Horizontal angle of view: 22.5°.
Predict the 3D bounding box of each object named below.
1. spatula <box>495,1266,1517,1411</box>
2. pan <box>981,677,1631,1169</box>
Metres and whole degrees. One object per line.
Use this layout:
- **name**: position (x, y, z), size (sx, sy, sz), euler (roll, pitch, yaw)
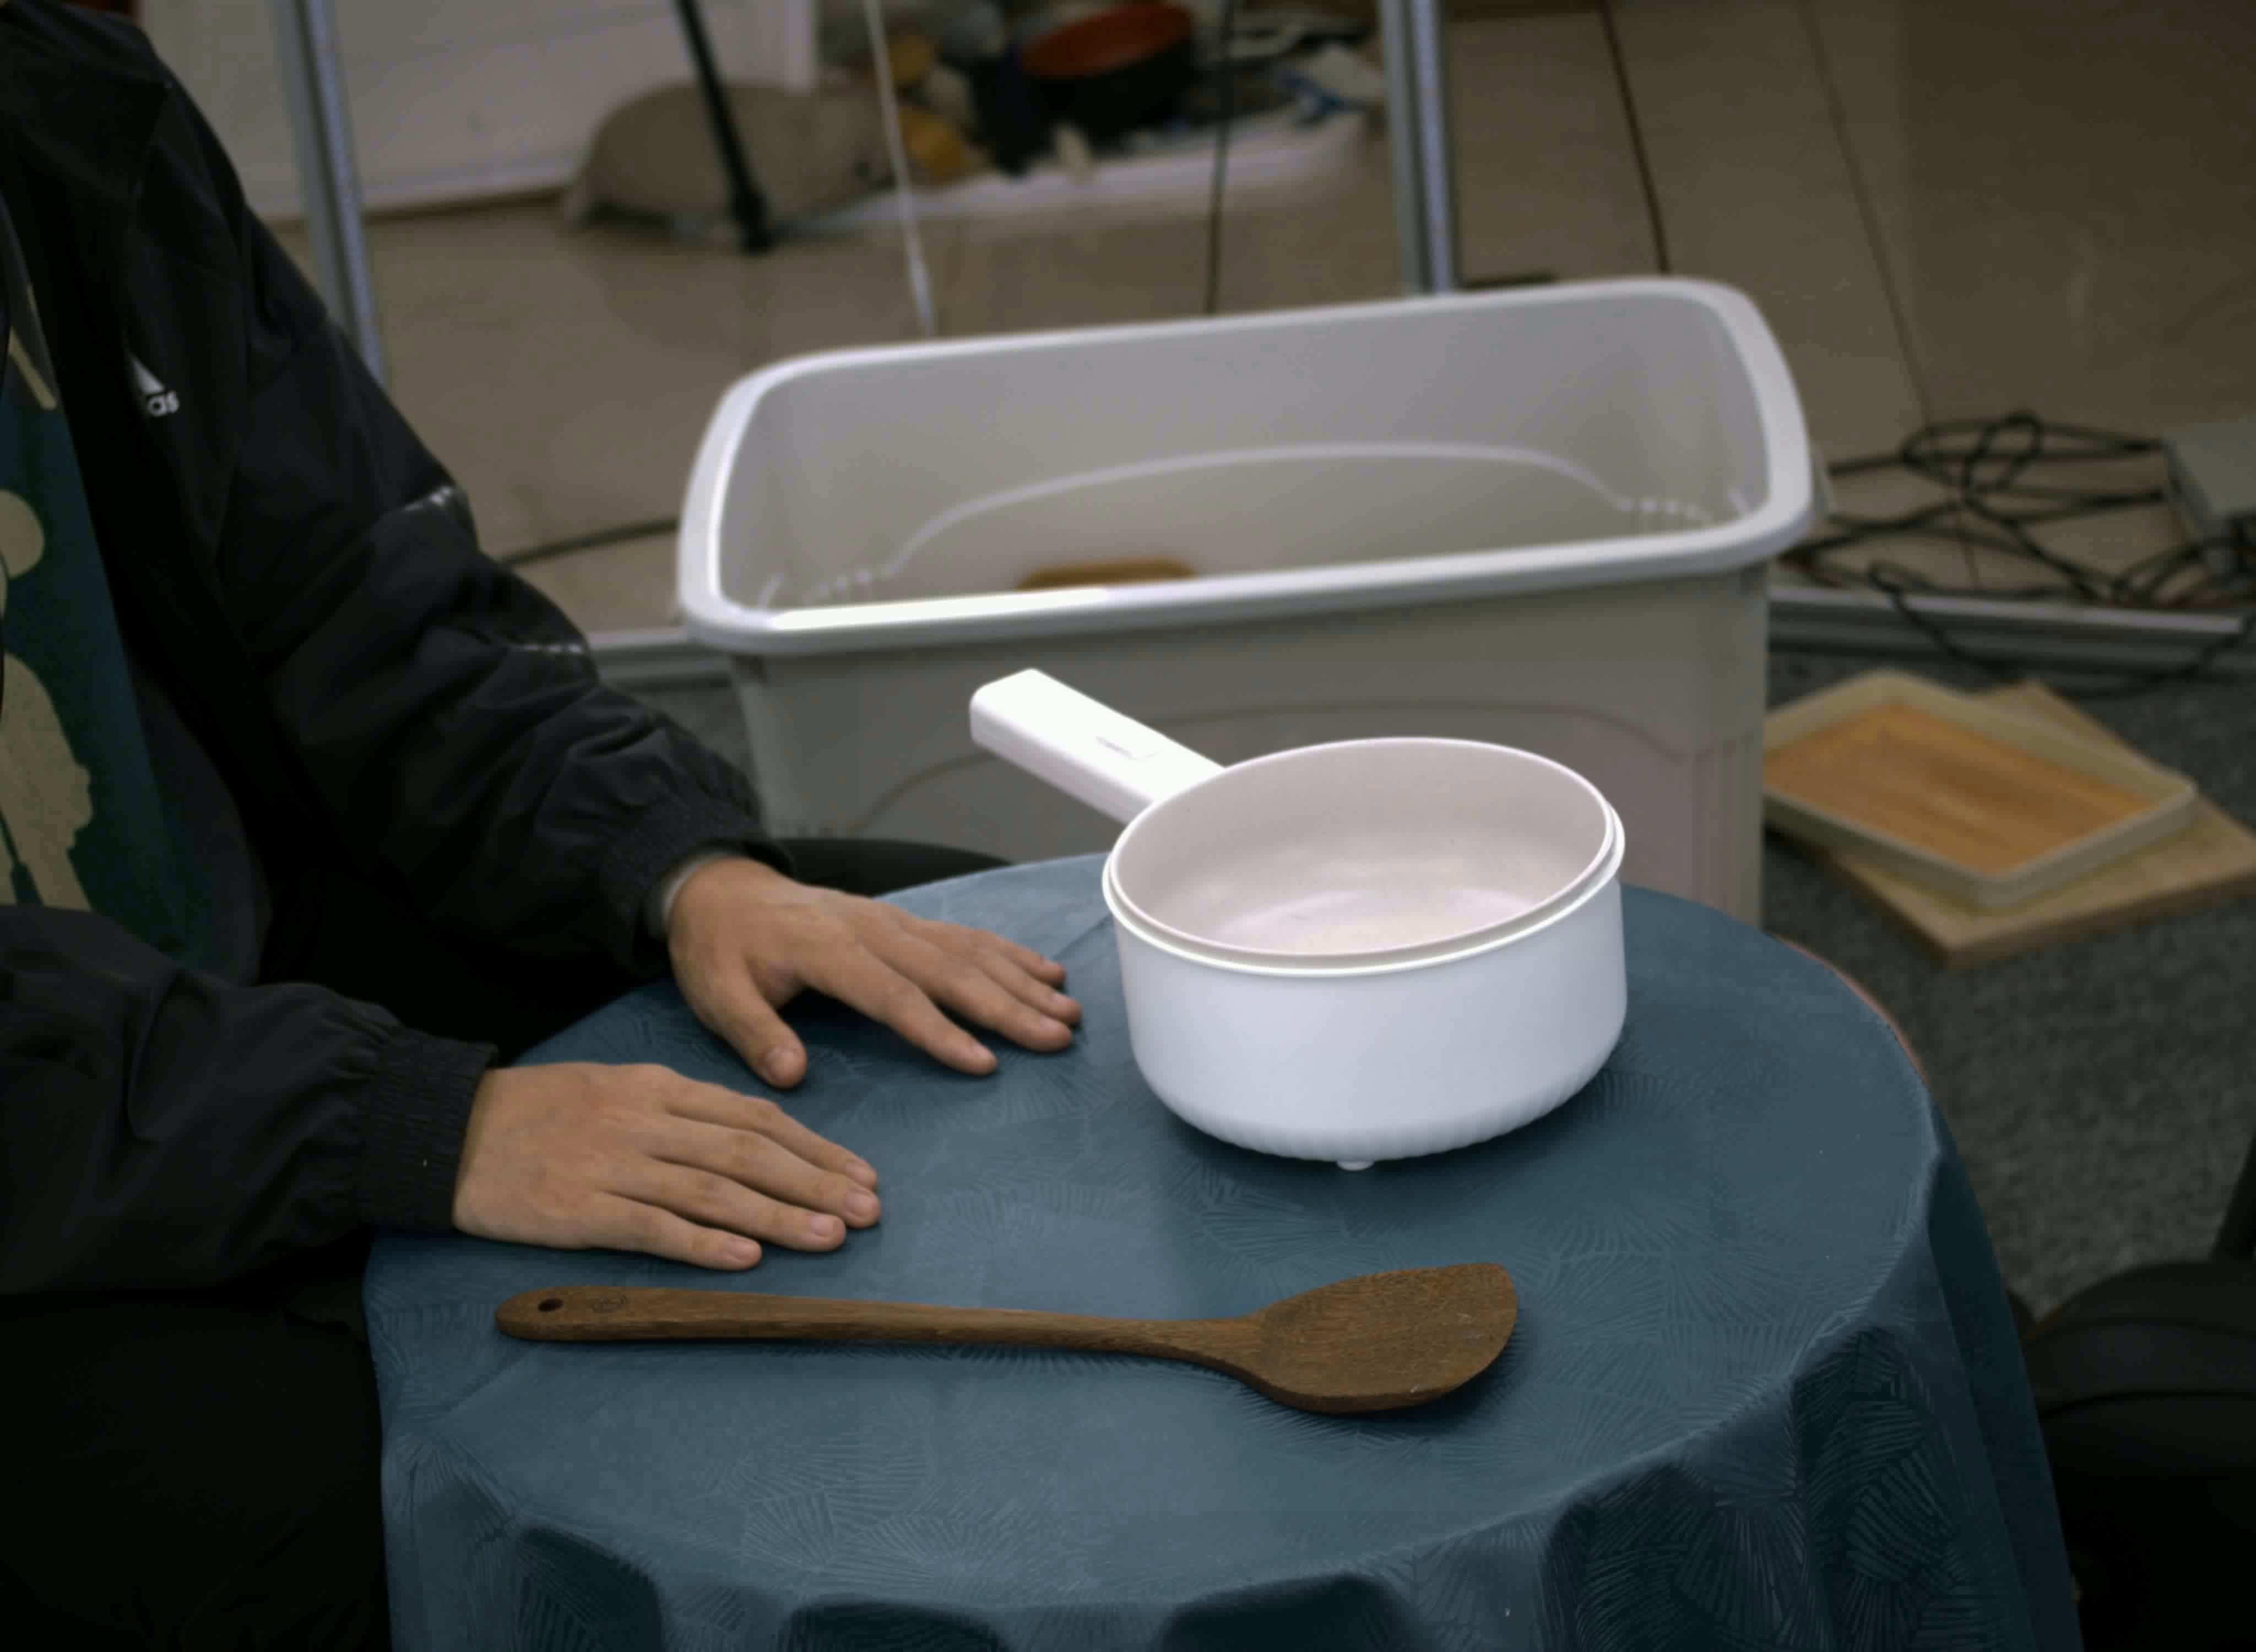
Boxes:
- **spatula**: position (-0.050, 0.181, 2.052), size (0.385, 0.016, 0.095), euler (0, 25, 16)
- **pan**: position (0.053, 0.031, 2.251), size (0.200, 0.103, 0.351), euler (-22, 27, -28)
